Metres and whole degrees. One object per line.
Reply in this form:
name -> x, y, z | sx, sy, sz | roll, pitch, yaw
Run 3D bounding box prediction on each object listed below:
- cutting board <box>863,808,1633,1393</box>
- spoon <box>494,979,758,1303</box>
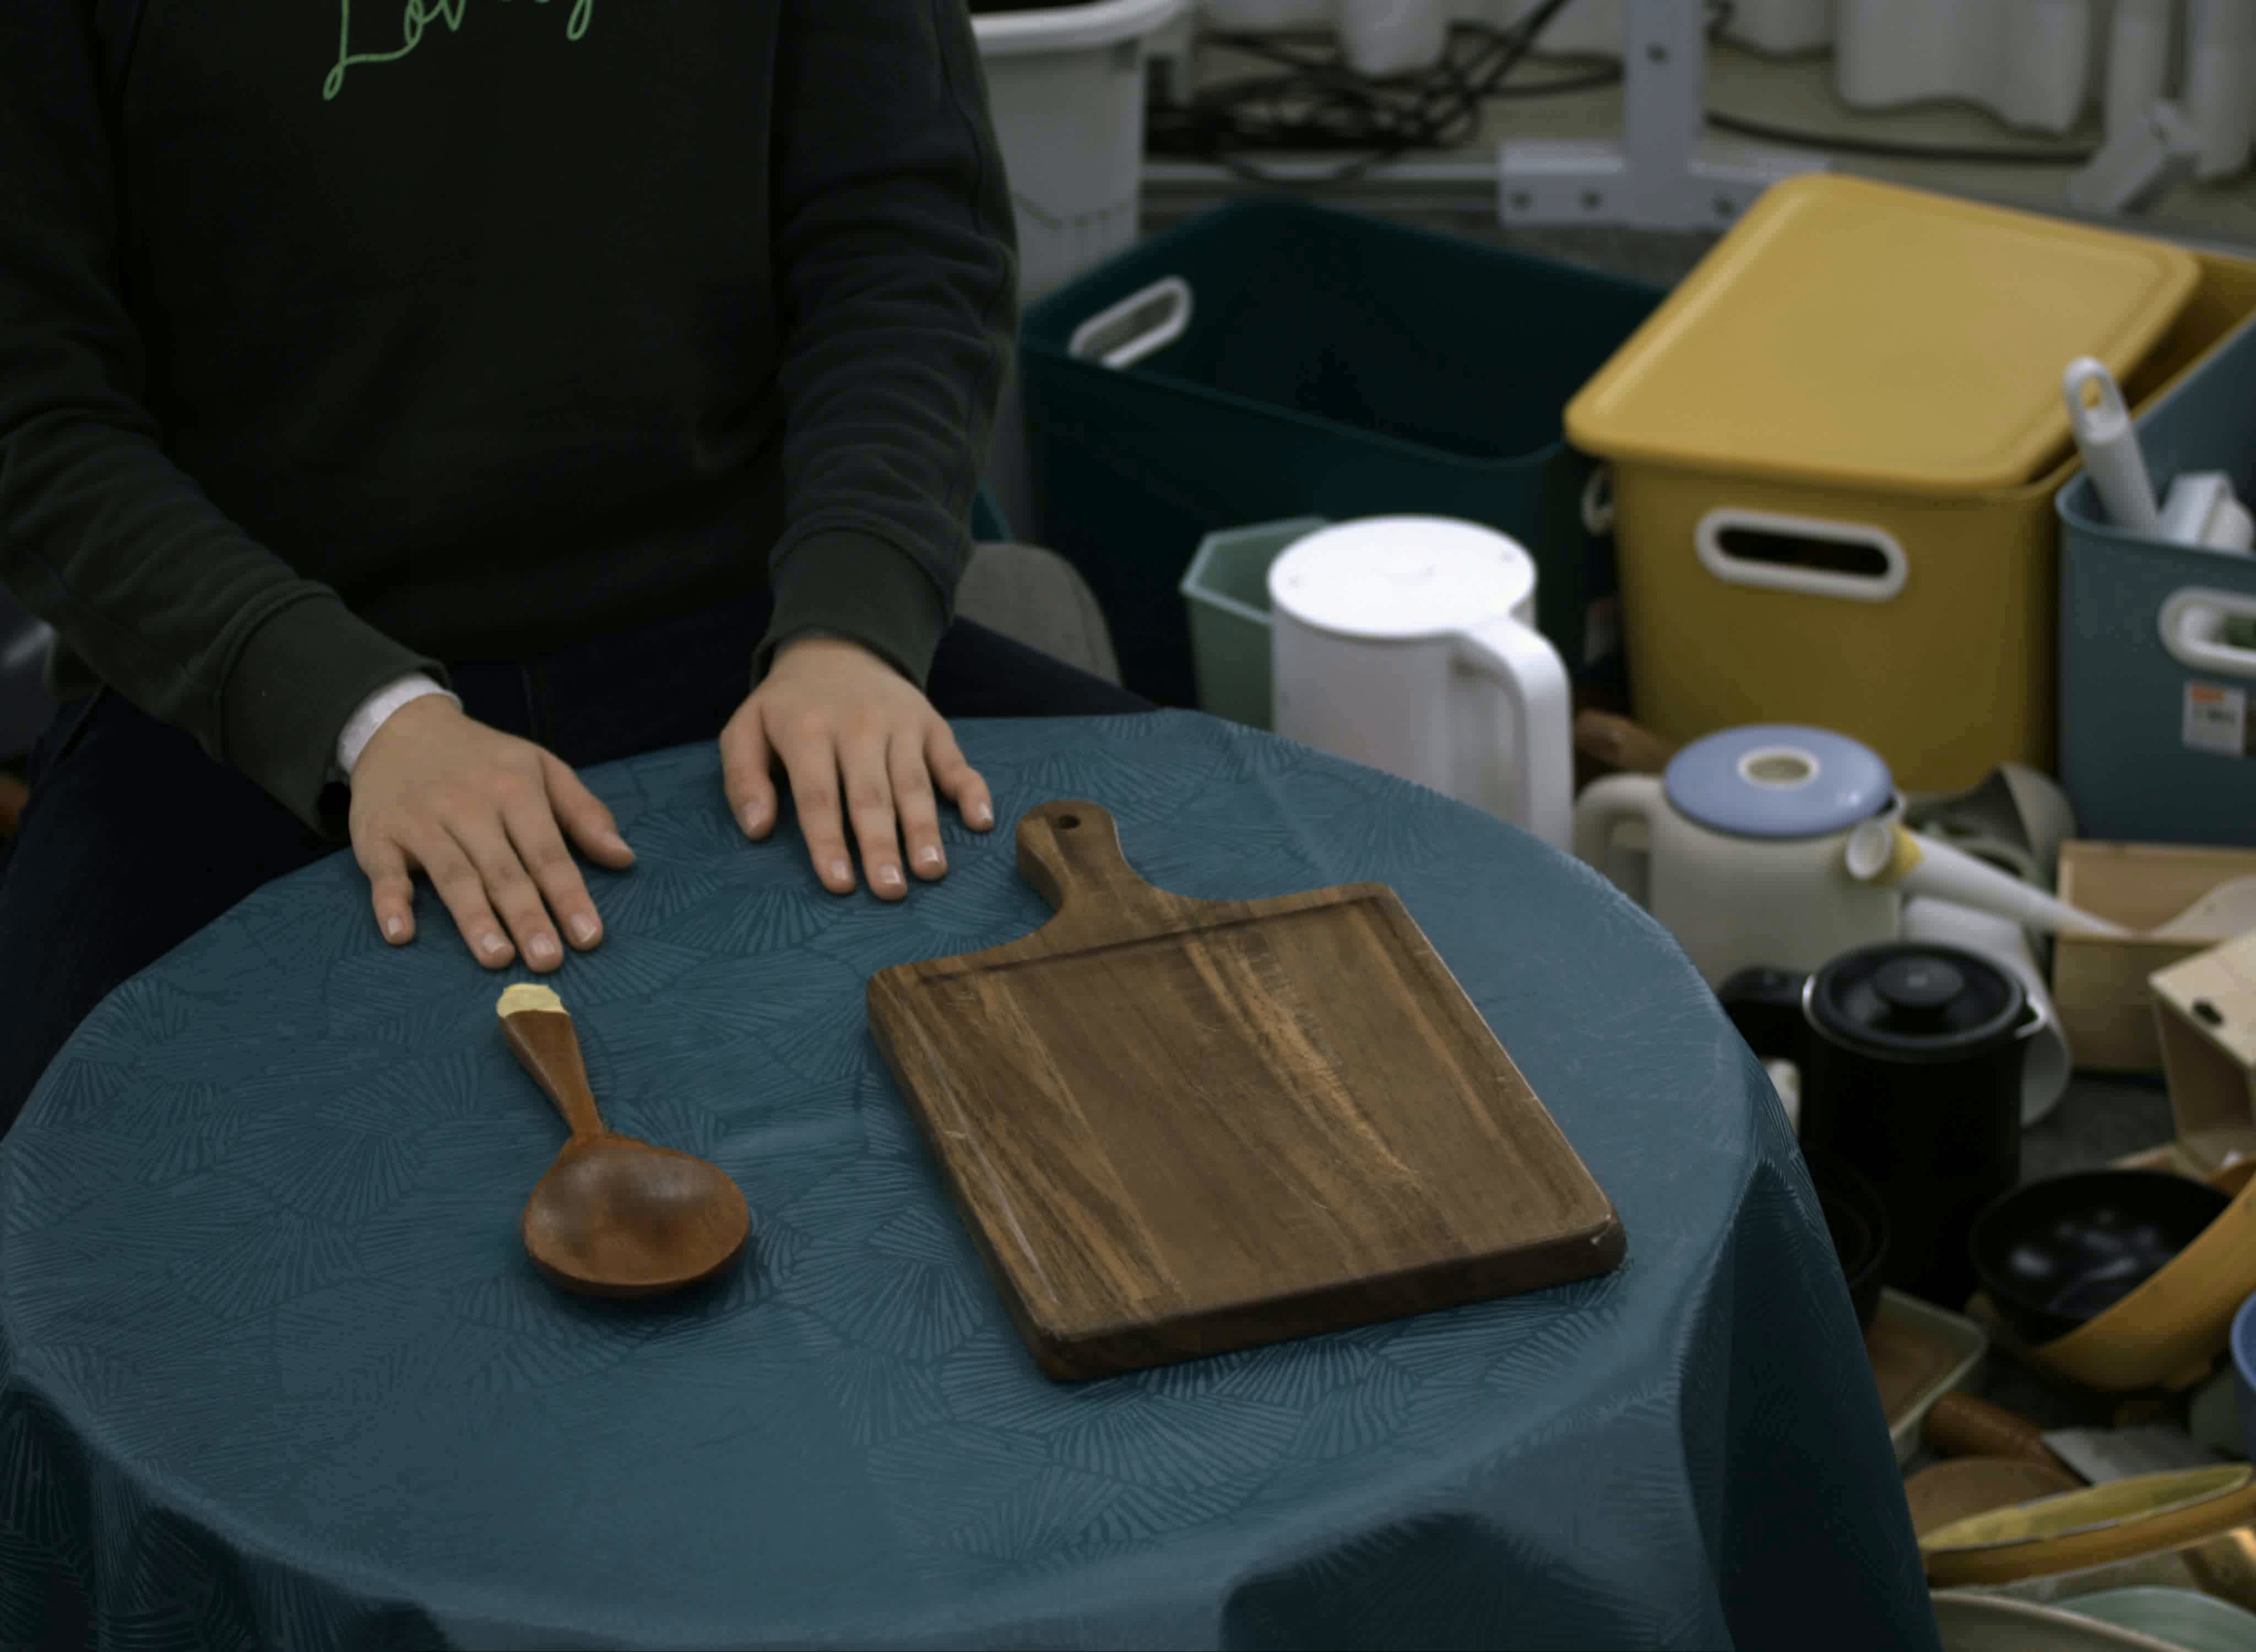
cutting board -> 0.021, 0.078, 1.926 | 0.201, 0.023, 0.355 | -11, 28, -12
spoon -> -0.179, 0.106, 1.890 | 0.075, 0.017, 0.218 | -13, 29, -14
